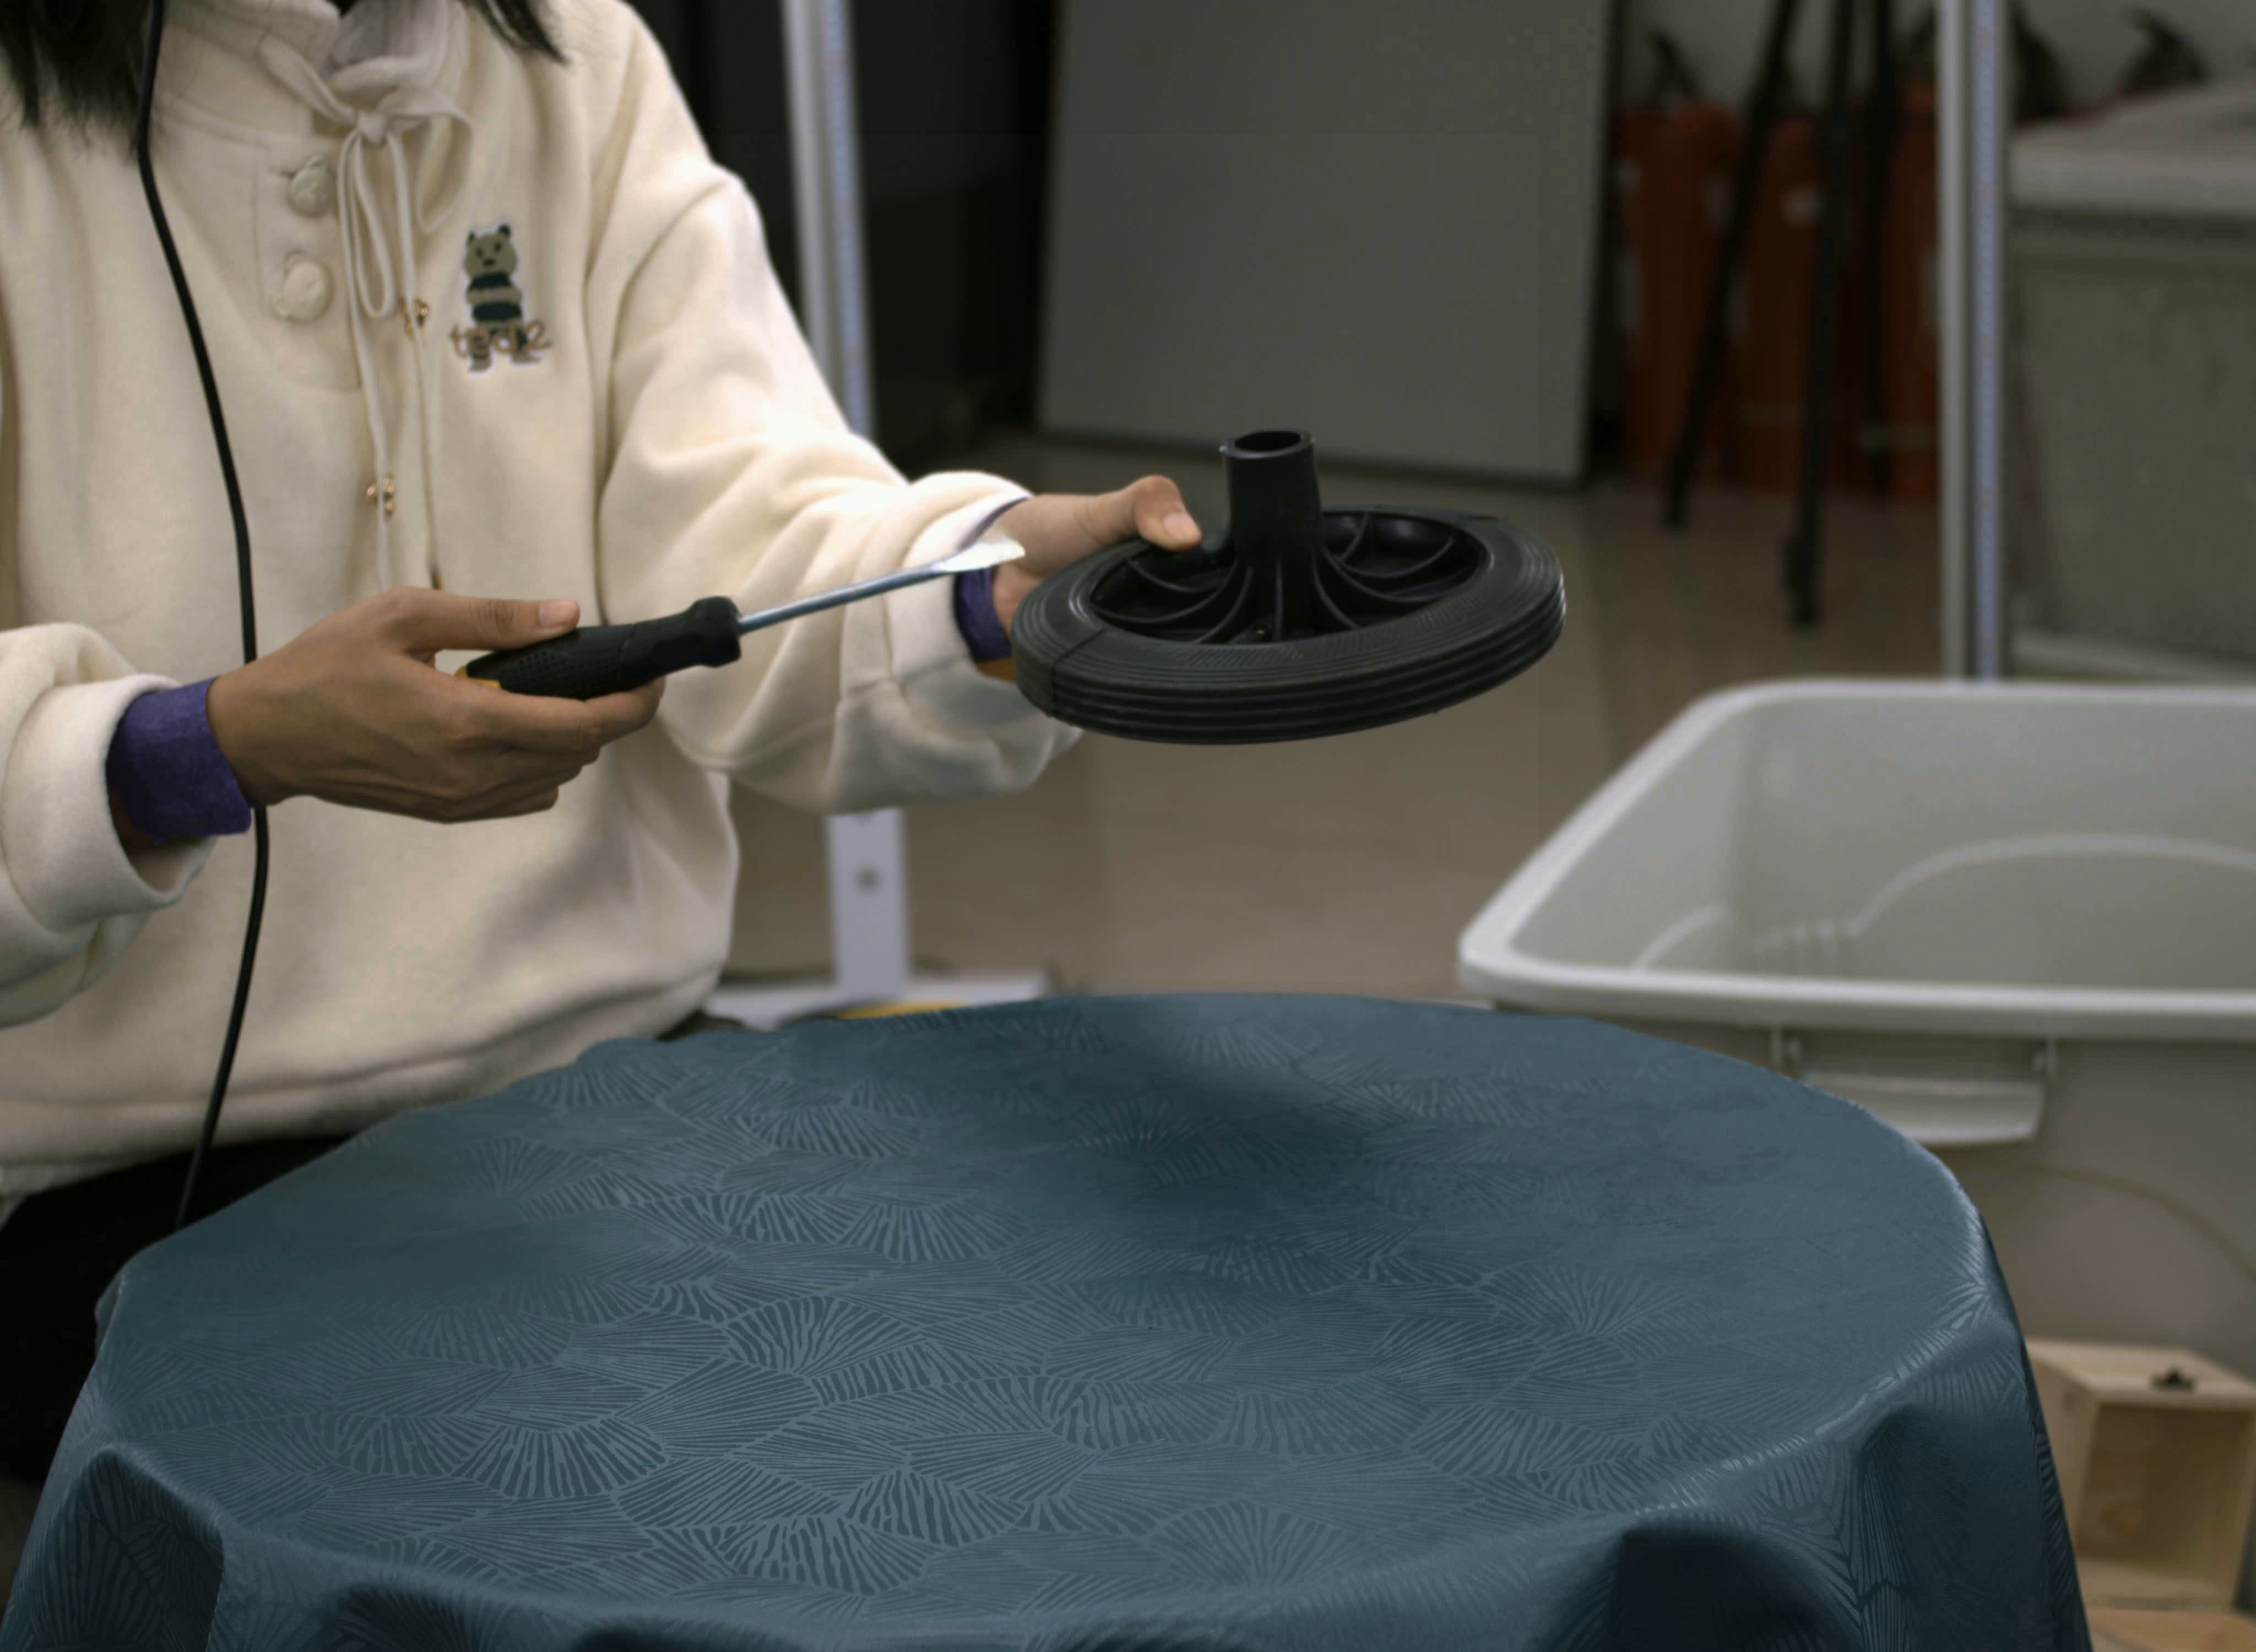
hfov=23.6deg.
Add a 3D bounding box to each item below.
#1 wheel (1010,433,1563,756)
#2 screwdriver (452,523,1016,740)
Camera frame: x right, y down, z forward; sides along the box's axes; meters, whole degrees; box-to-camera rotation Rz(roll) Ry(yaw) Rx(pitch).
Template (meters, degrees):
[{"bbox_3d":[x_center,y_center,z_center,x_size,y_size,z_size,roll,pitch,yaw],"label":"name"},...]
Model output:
[{"bbox_3d":[0.050,-0.087,1.798,0.186,0.080,0.190,-6,22,7],"label":"wheel"},{"bbox_3d":[-0.129,-0.064,1.789,0.196,0.032,0.031,-15,13,5],"label":"screwdriver"}]
